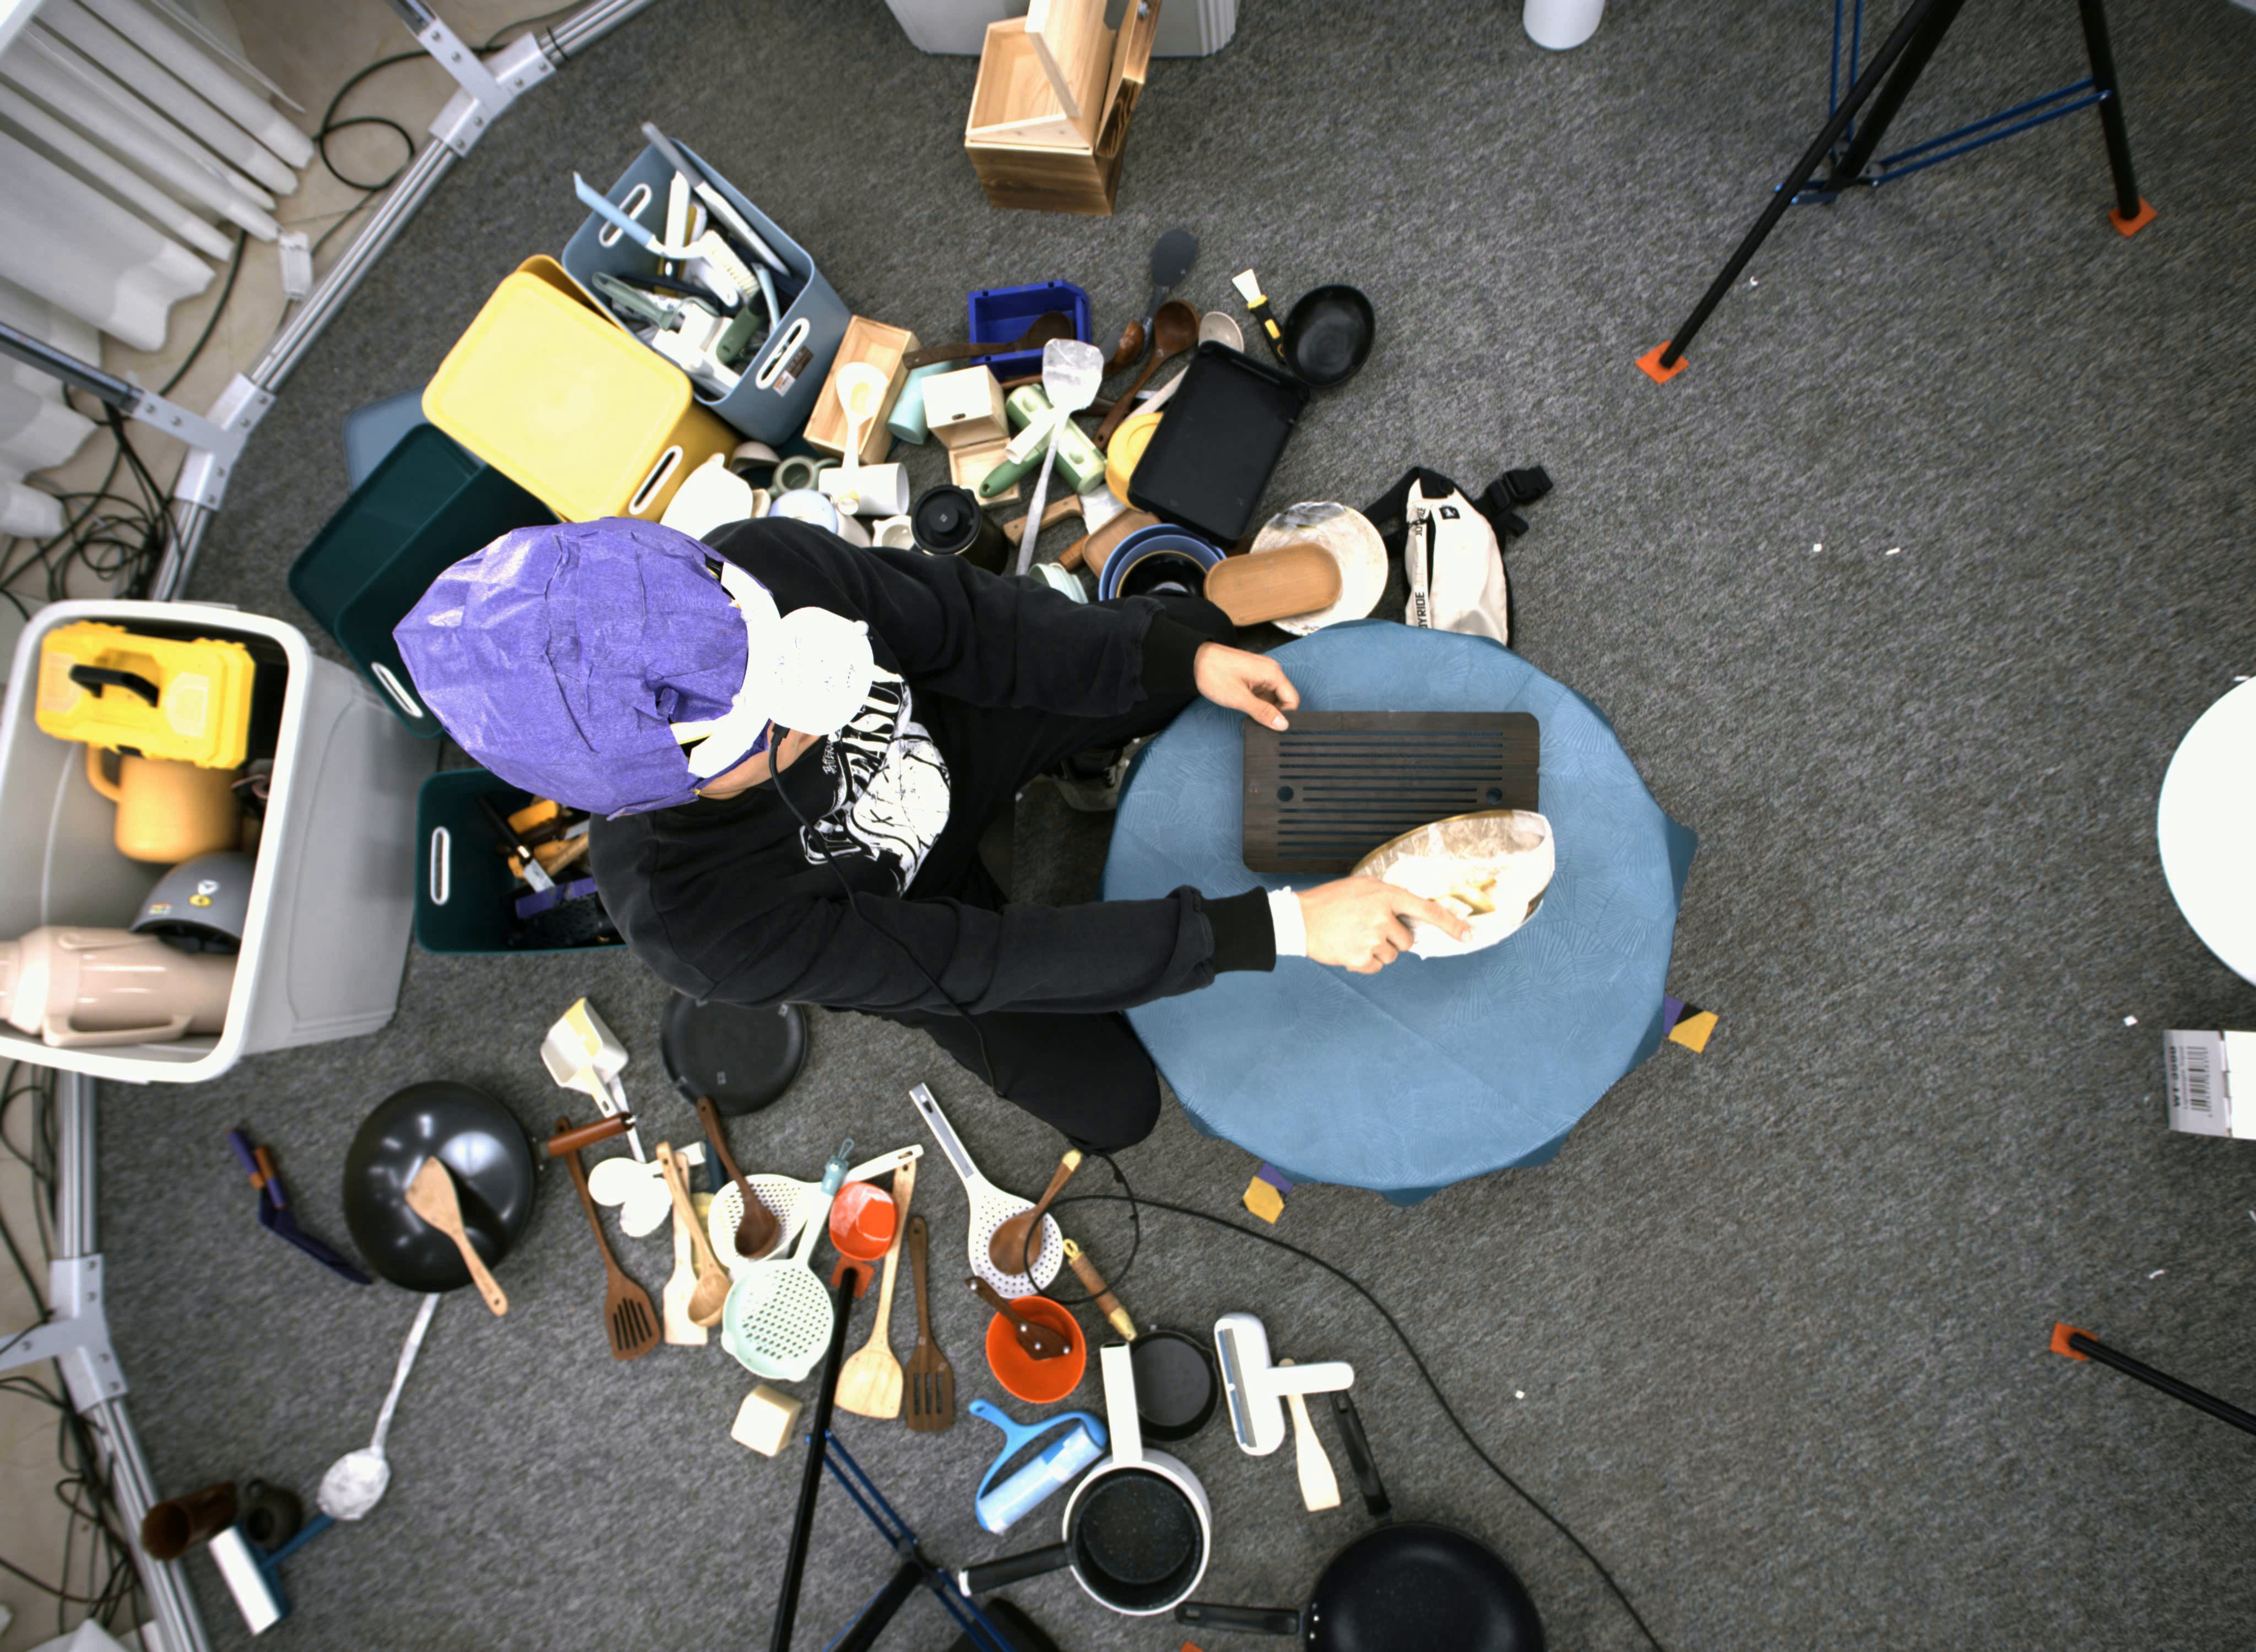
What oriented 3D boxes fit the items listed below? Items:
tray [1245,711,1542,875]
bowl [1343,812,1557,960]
[{"bbox_3d":[0.275,-0.036,1.435,0.306,0.018,0.170,0,95,4],"label":"tray"},{"bbox_3d":[0.321,0.069,1.342,0.216,0.211,0.095,-20,106,7],"label":"bowl"}]
